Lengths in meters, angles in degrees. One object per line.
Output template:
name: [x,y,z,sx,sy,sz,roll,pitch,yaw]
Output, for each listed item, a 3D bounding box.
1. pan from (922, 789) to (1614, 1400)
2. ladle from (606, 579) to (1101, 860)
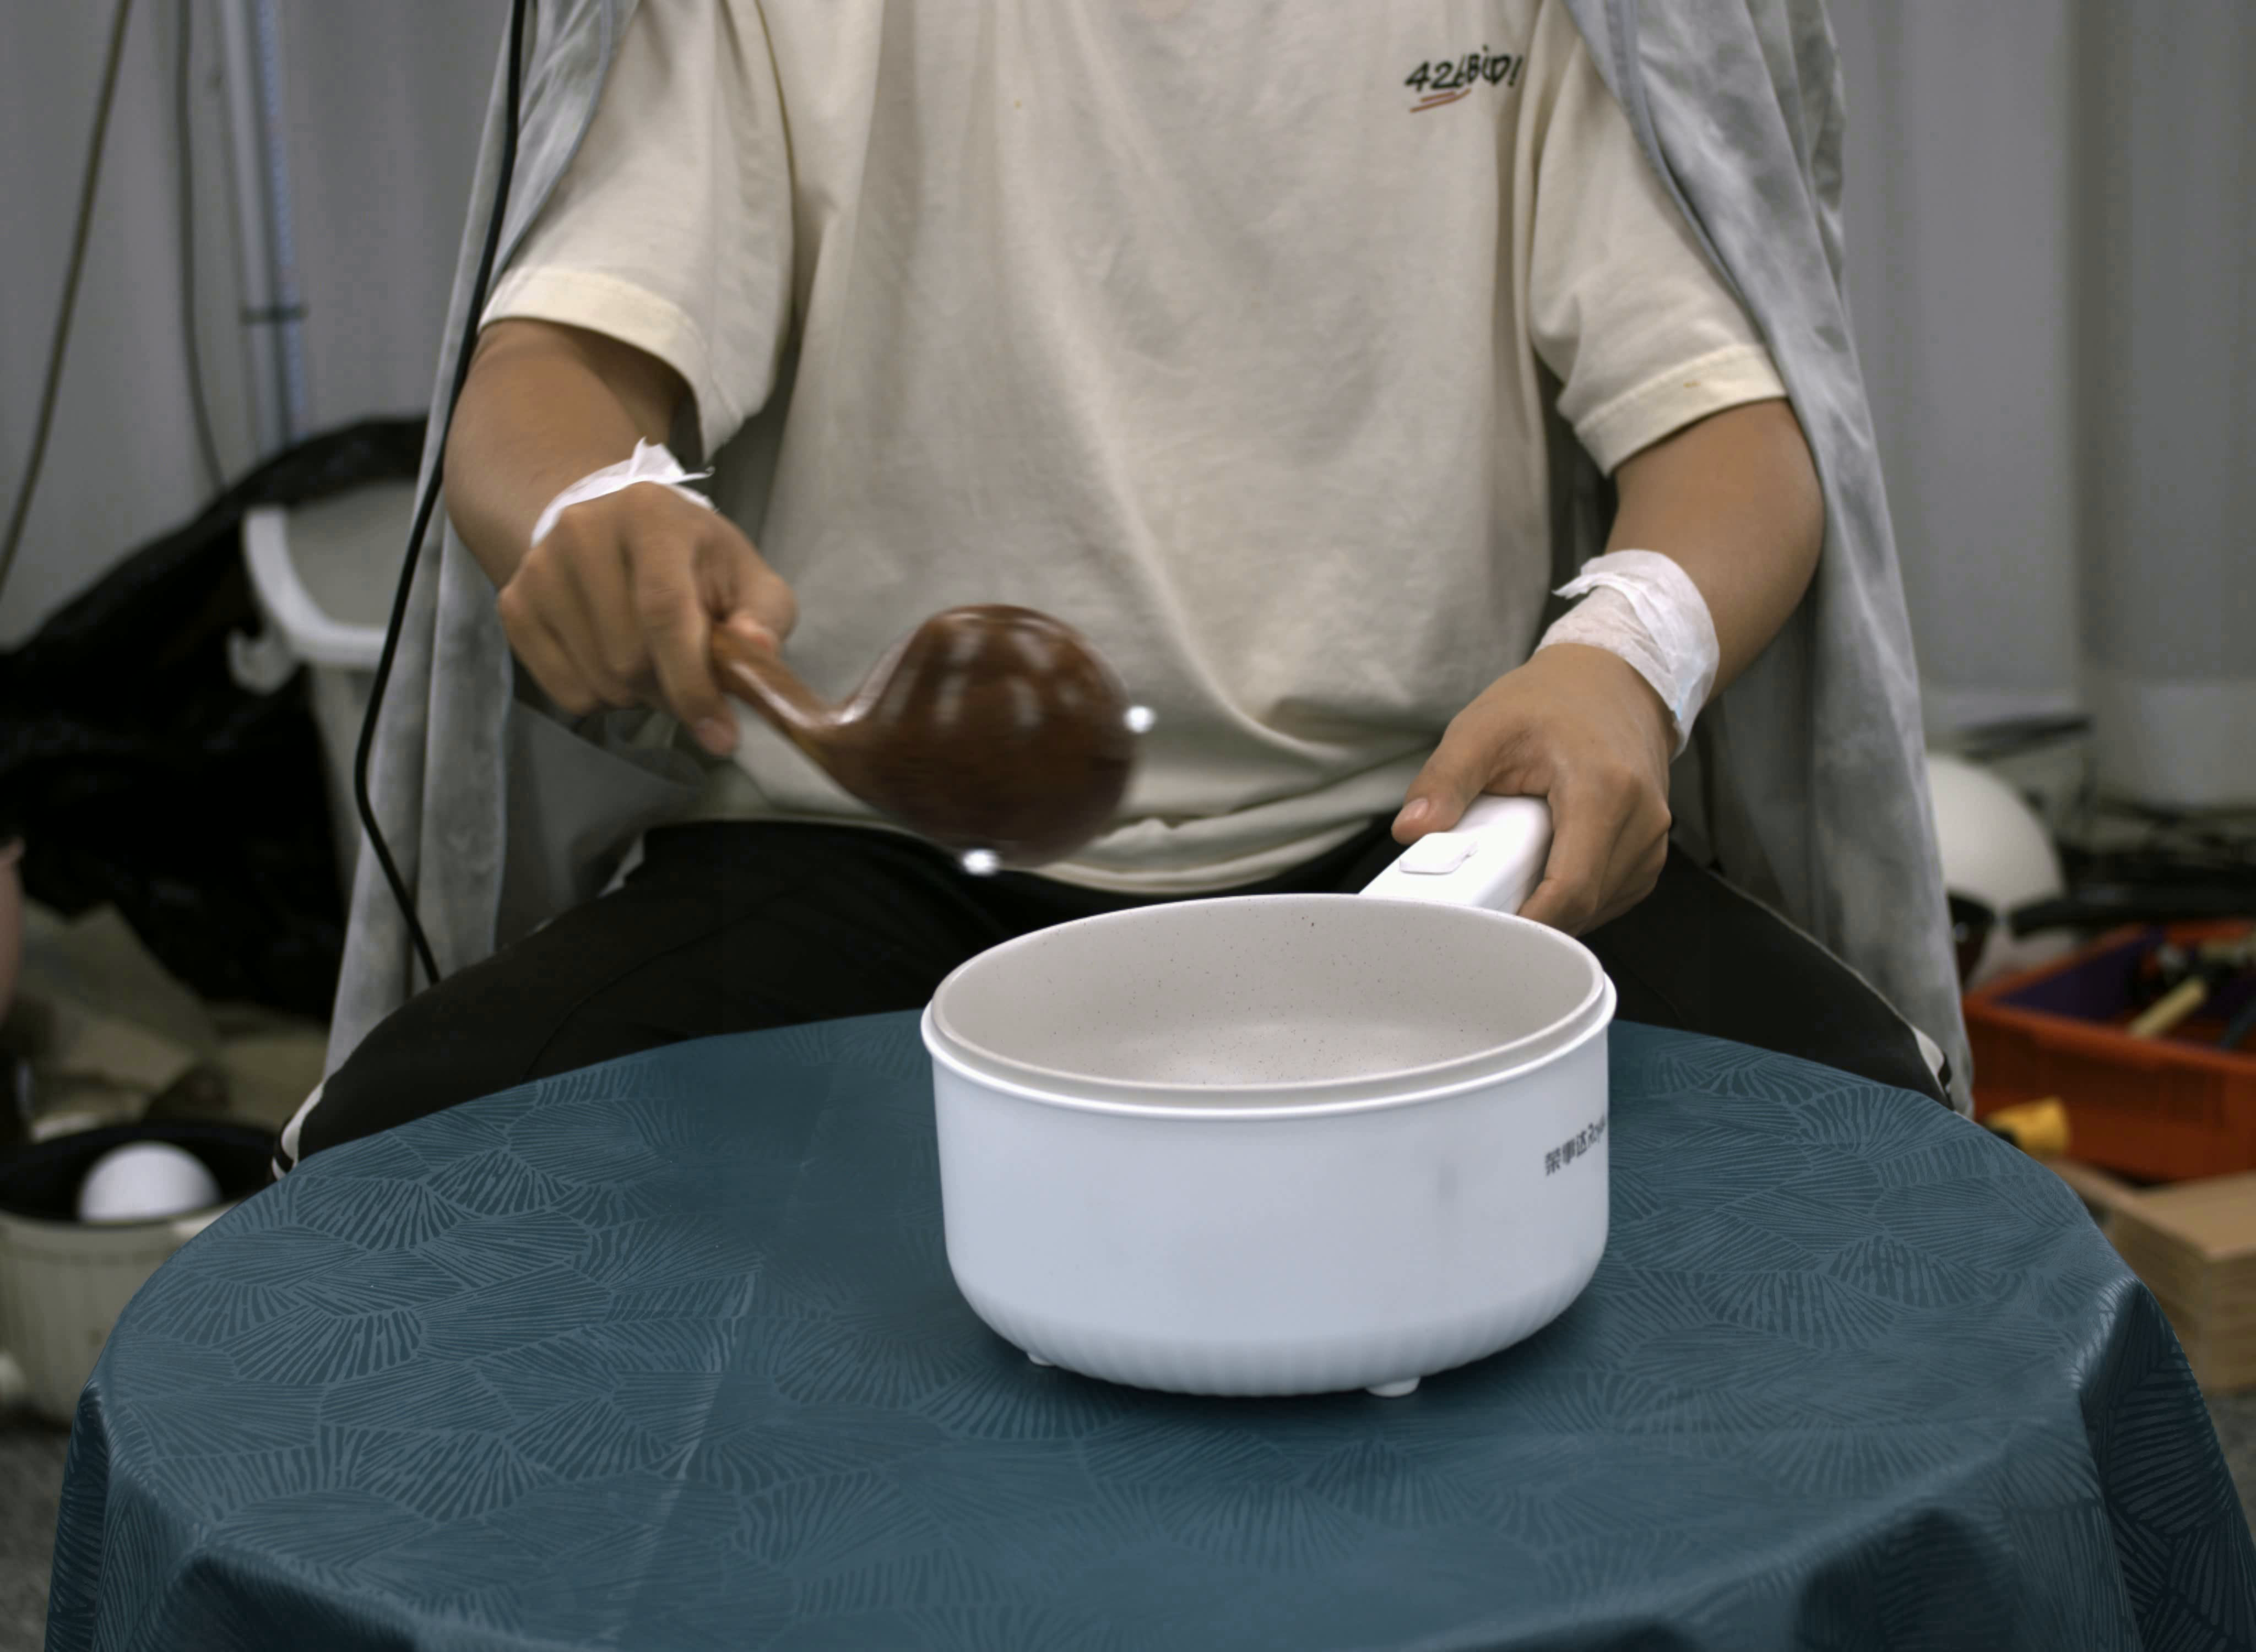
pan: [0.070,0.077,1.661,0.201,0.102,0.356,2,15,22]
ladle: [-0.086,-0.046,1.659,0.076,0.081,0.276,-13,13,-18]
